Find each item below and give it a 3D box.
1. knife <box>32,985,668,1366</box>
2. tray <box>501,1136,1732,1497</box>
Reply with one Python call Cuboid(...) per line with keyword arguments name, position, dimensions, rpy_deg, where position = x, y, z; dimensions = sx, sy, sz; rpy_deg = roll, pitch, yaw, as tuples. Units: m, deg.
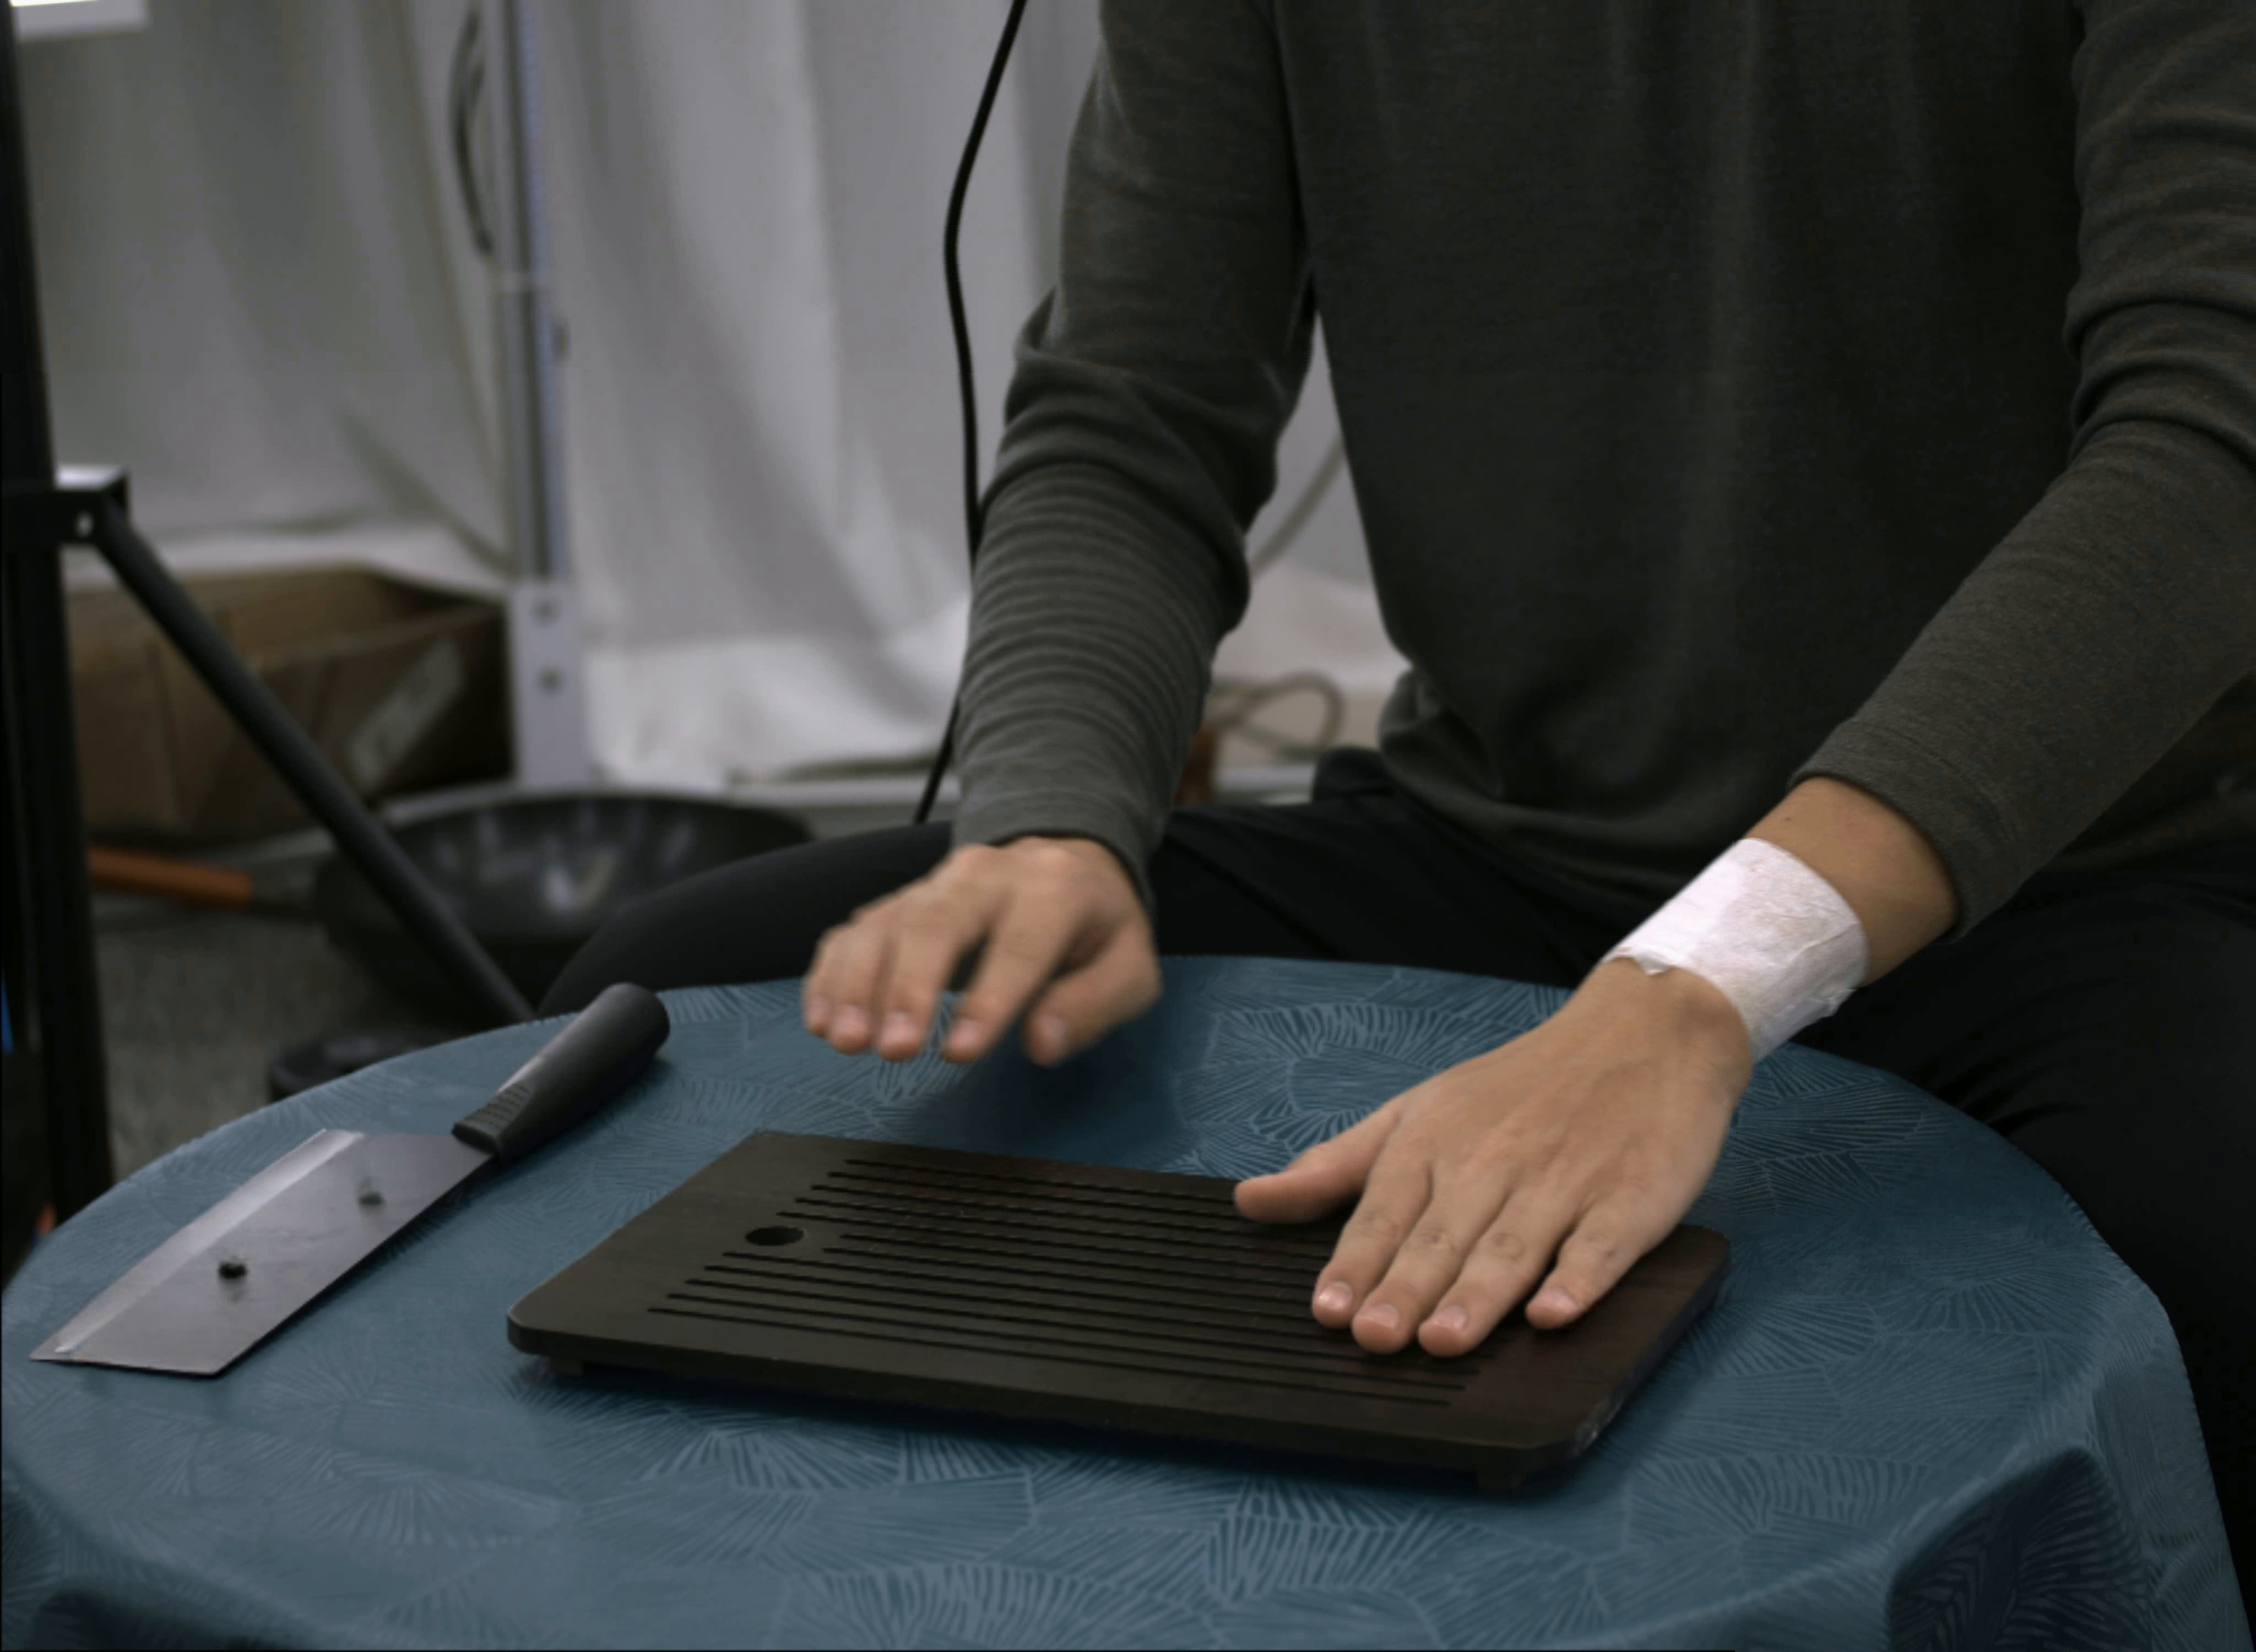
Cuboid(name="knife", position=(-0.221, 0.103, 1.591), dimensions=(0.082, 0.021, 0.298), rpy_deg=(4, 19, 25))
Cuboid(name="tray", position=(-0.001, 0.131, 1.446), dimensions=(0.310, 0.018, 0.168), rpy_deg=(5, 17, 24))
